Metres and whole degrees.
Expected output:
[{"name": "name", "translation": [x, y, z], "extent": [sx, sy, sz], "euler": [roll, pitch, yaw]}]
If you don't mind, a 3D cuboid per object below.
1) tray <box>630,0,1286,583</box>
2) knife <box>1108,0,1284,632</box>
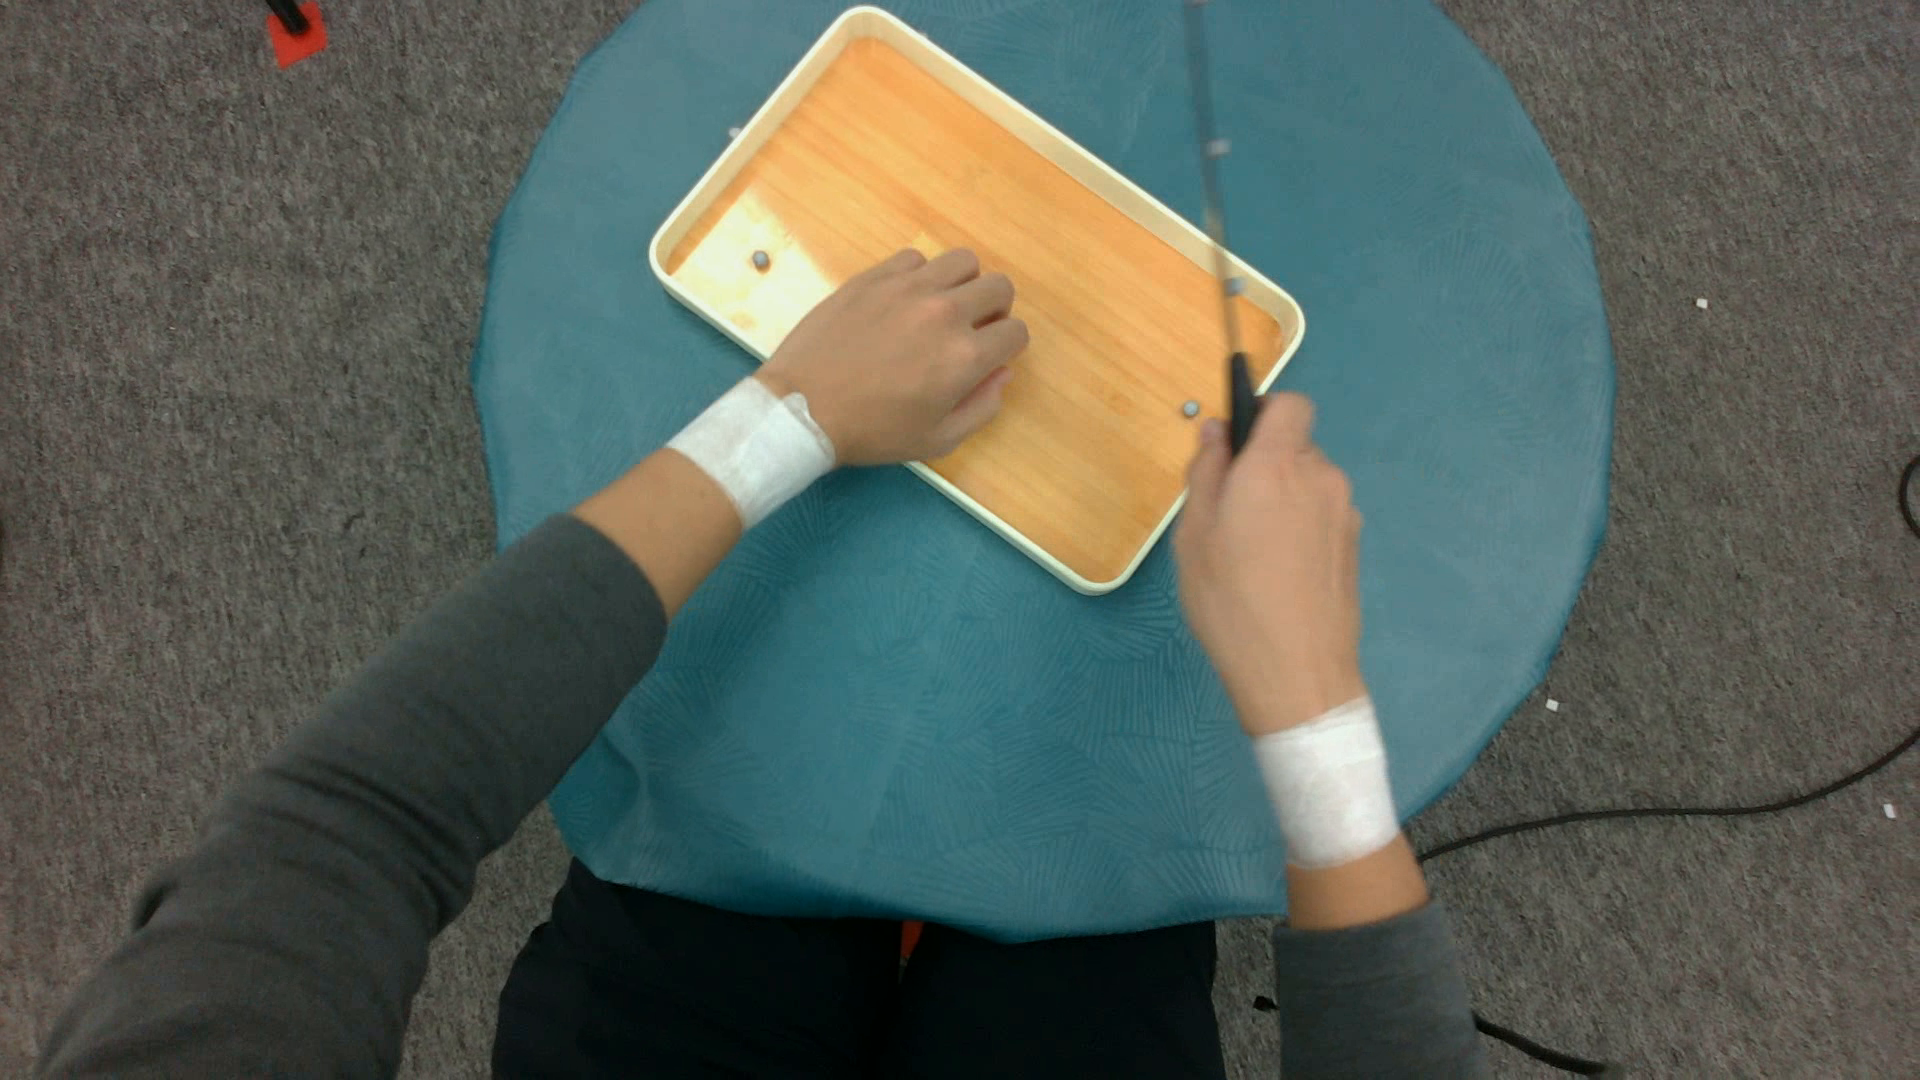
[{"name": "tray", "translation": [0.000, -0.133, 0.718], "extent": [0.300, 0.027, 0.192], "euler": [36, 79, 4]}, {"name": "knife", "translation": [0.099, -0.106, 0.608], "extent": [0.021, 0.081, 0.302], "euler": [-14, 90, 9]}]
